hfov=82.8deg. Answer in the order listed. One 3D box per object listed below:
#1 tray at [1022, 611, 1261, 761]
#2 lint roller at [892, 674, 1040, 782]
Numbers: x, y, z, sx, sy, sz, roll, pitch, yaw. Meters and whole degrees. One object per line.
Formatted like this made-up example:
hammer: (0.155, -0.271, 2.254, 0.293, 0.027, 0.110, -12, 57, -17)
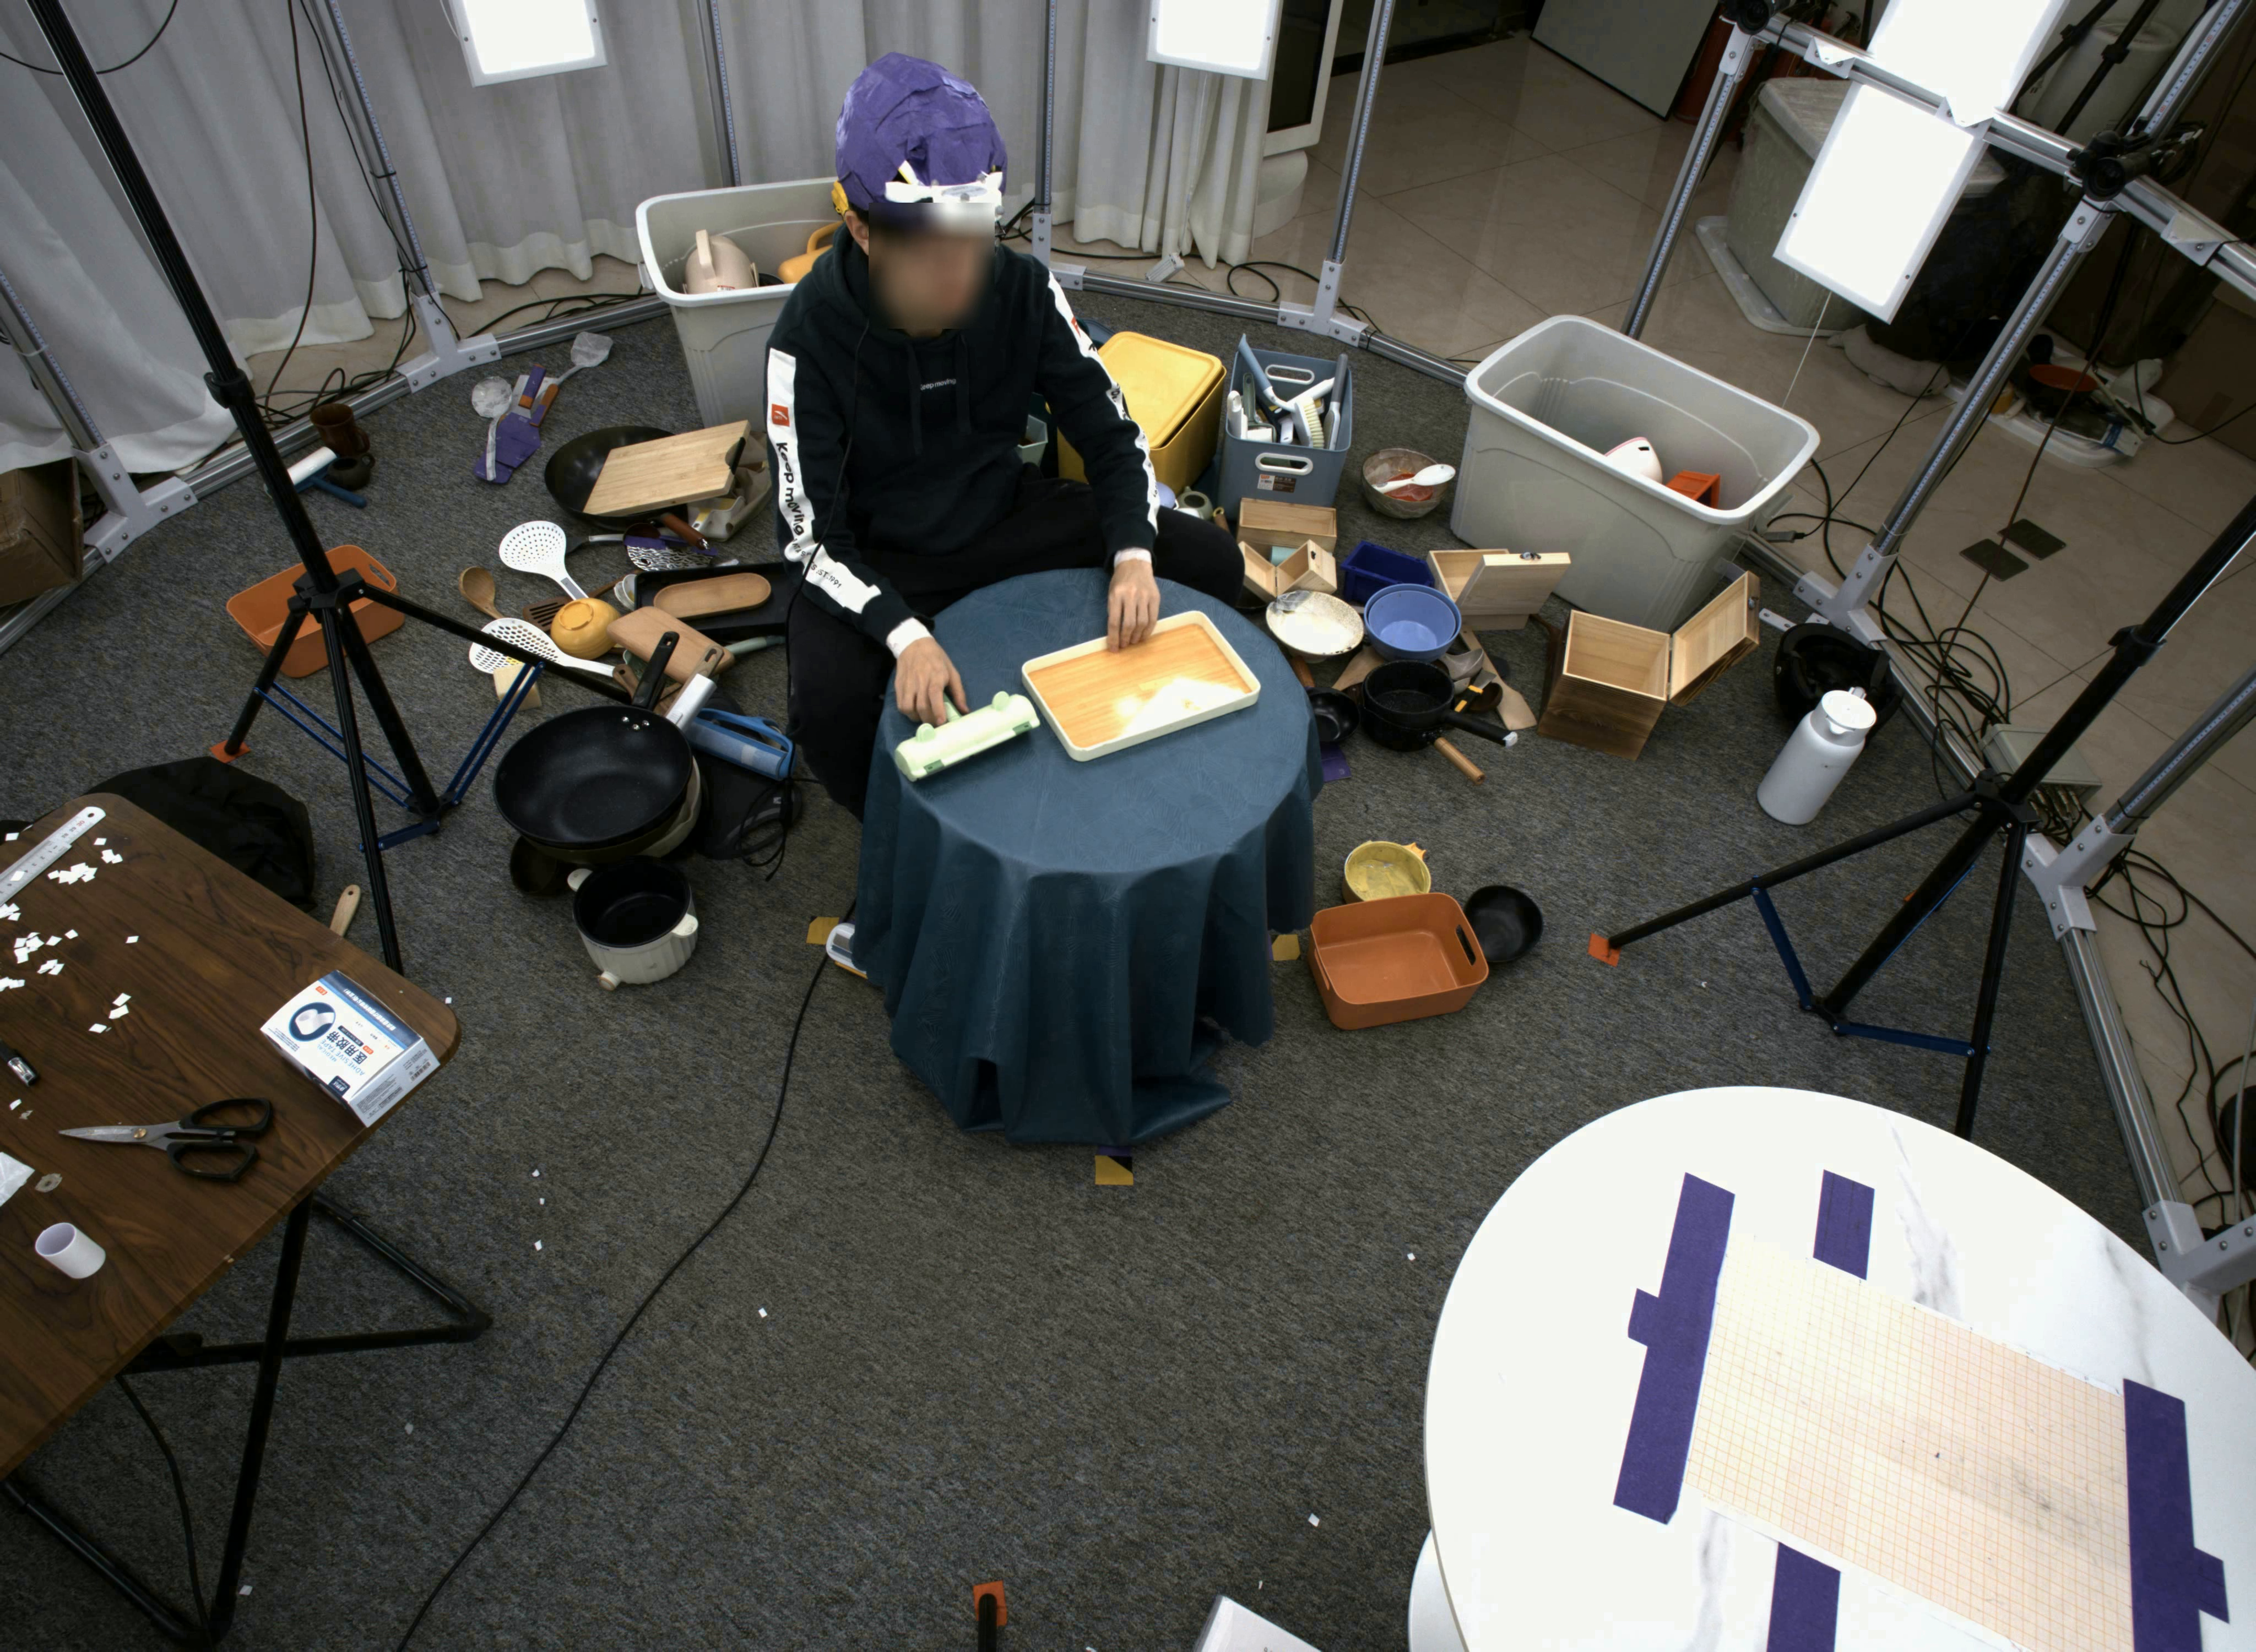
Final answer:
tray: (0.019, -0.204, 1.829, 0.301, 0.027, 0.196, -20, 53, -19)
lint roller: (-0.247, -0.162, 1.743, 0.199, 0.080, 0.187, -26, 60, -23)
